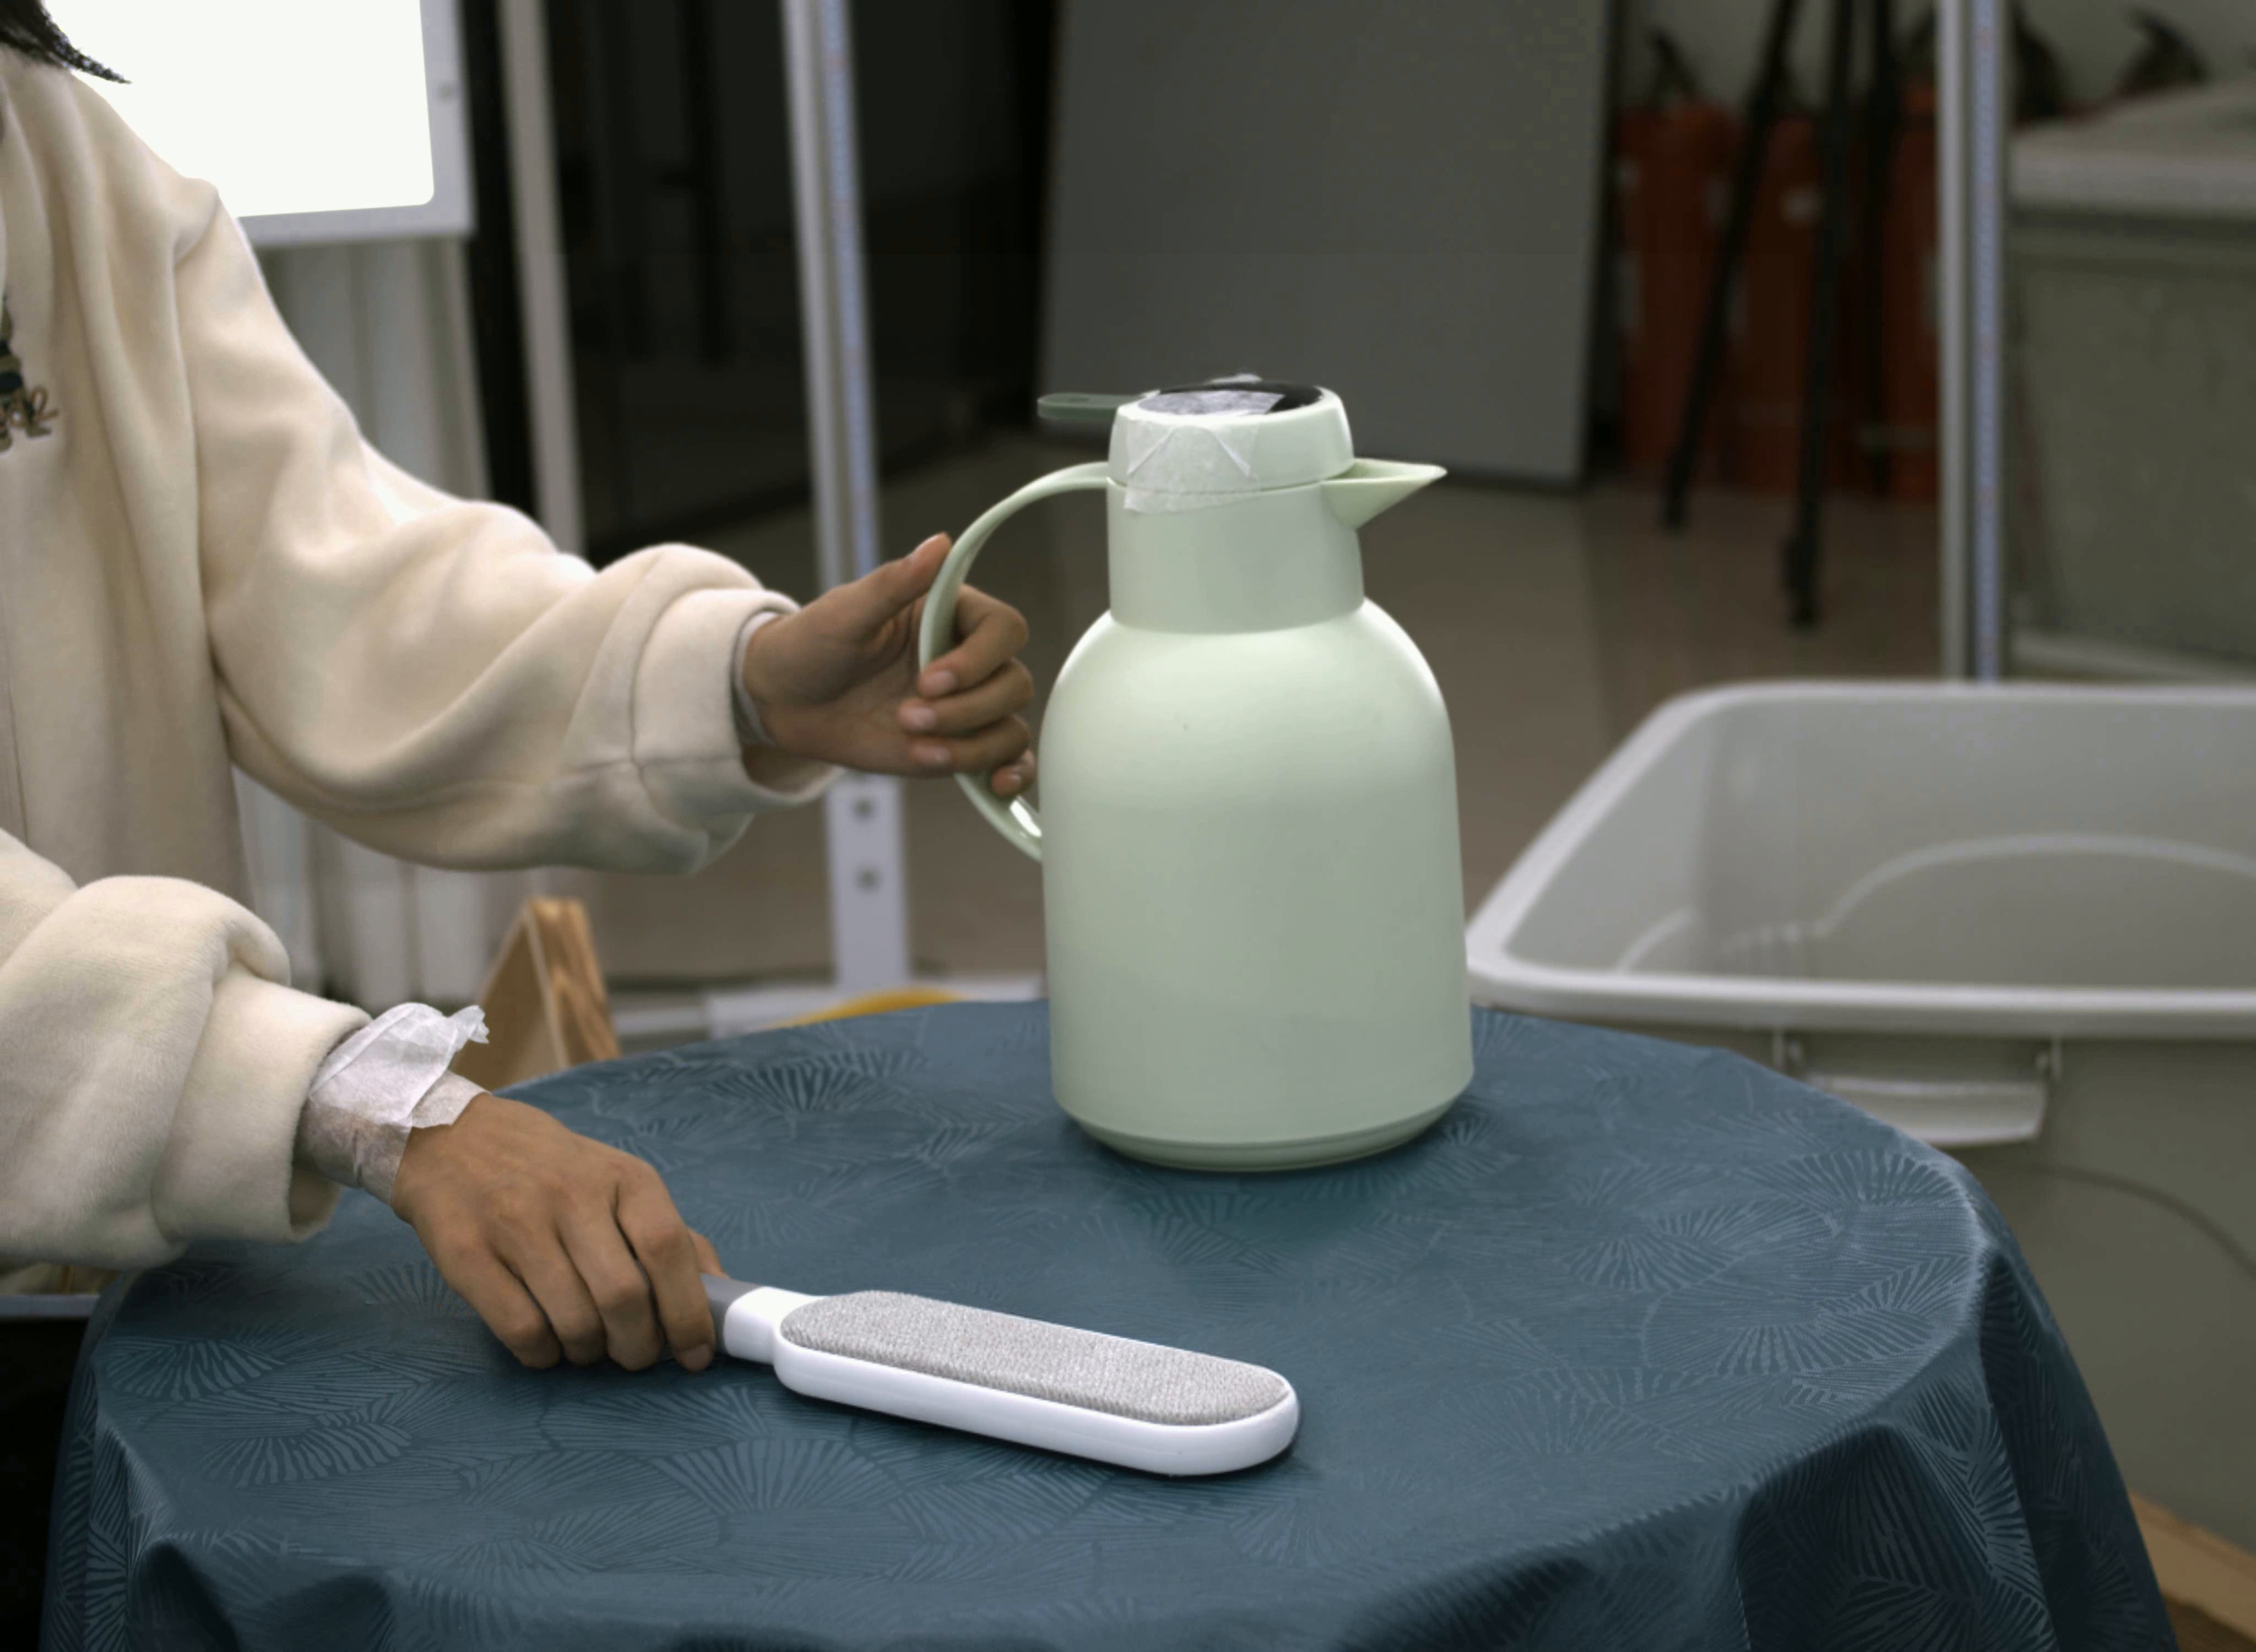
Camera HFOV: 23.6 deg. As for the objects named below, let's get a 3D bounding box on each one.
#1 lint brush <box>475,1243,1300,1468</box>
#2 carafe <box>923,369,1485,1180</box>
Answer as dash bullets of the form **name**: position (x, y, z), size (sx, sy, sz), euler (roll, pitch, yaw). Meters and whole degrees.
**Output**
- **lint brush**: position (-0.078, 0.154, 1.607), size (0.311, 0.021, 0.059), euler (7, 19, 38)
- **carafe**: position (0.027, -0.021, 1.814), size (0.186, 0.259, 0.143), euler (-3, 14, 20)
